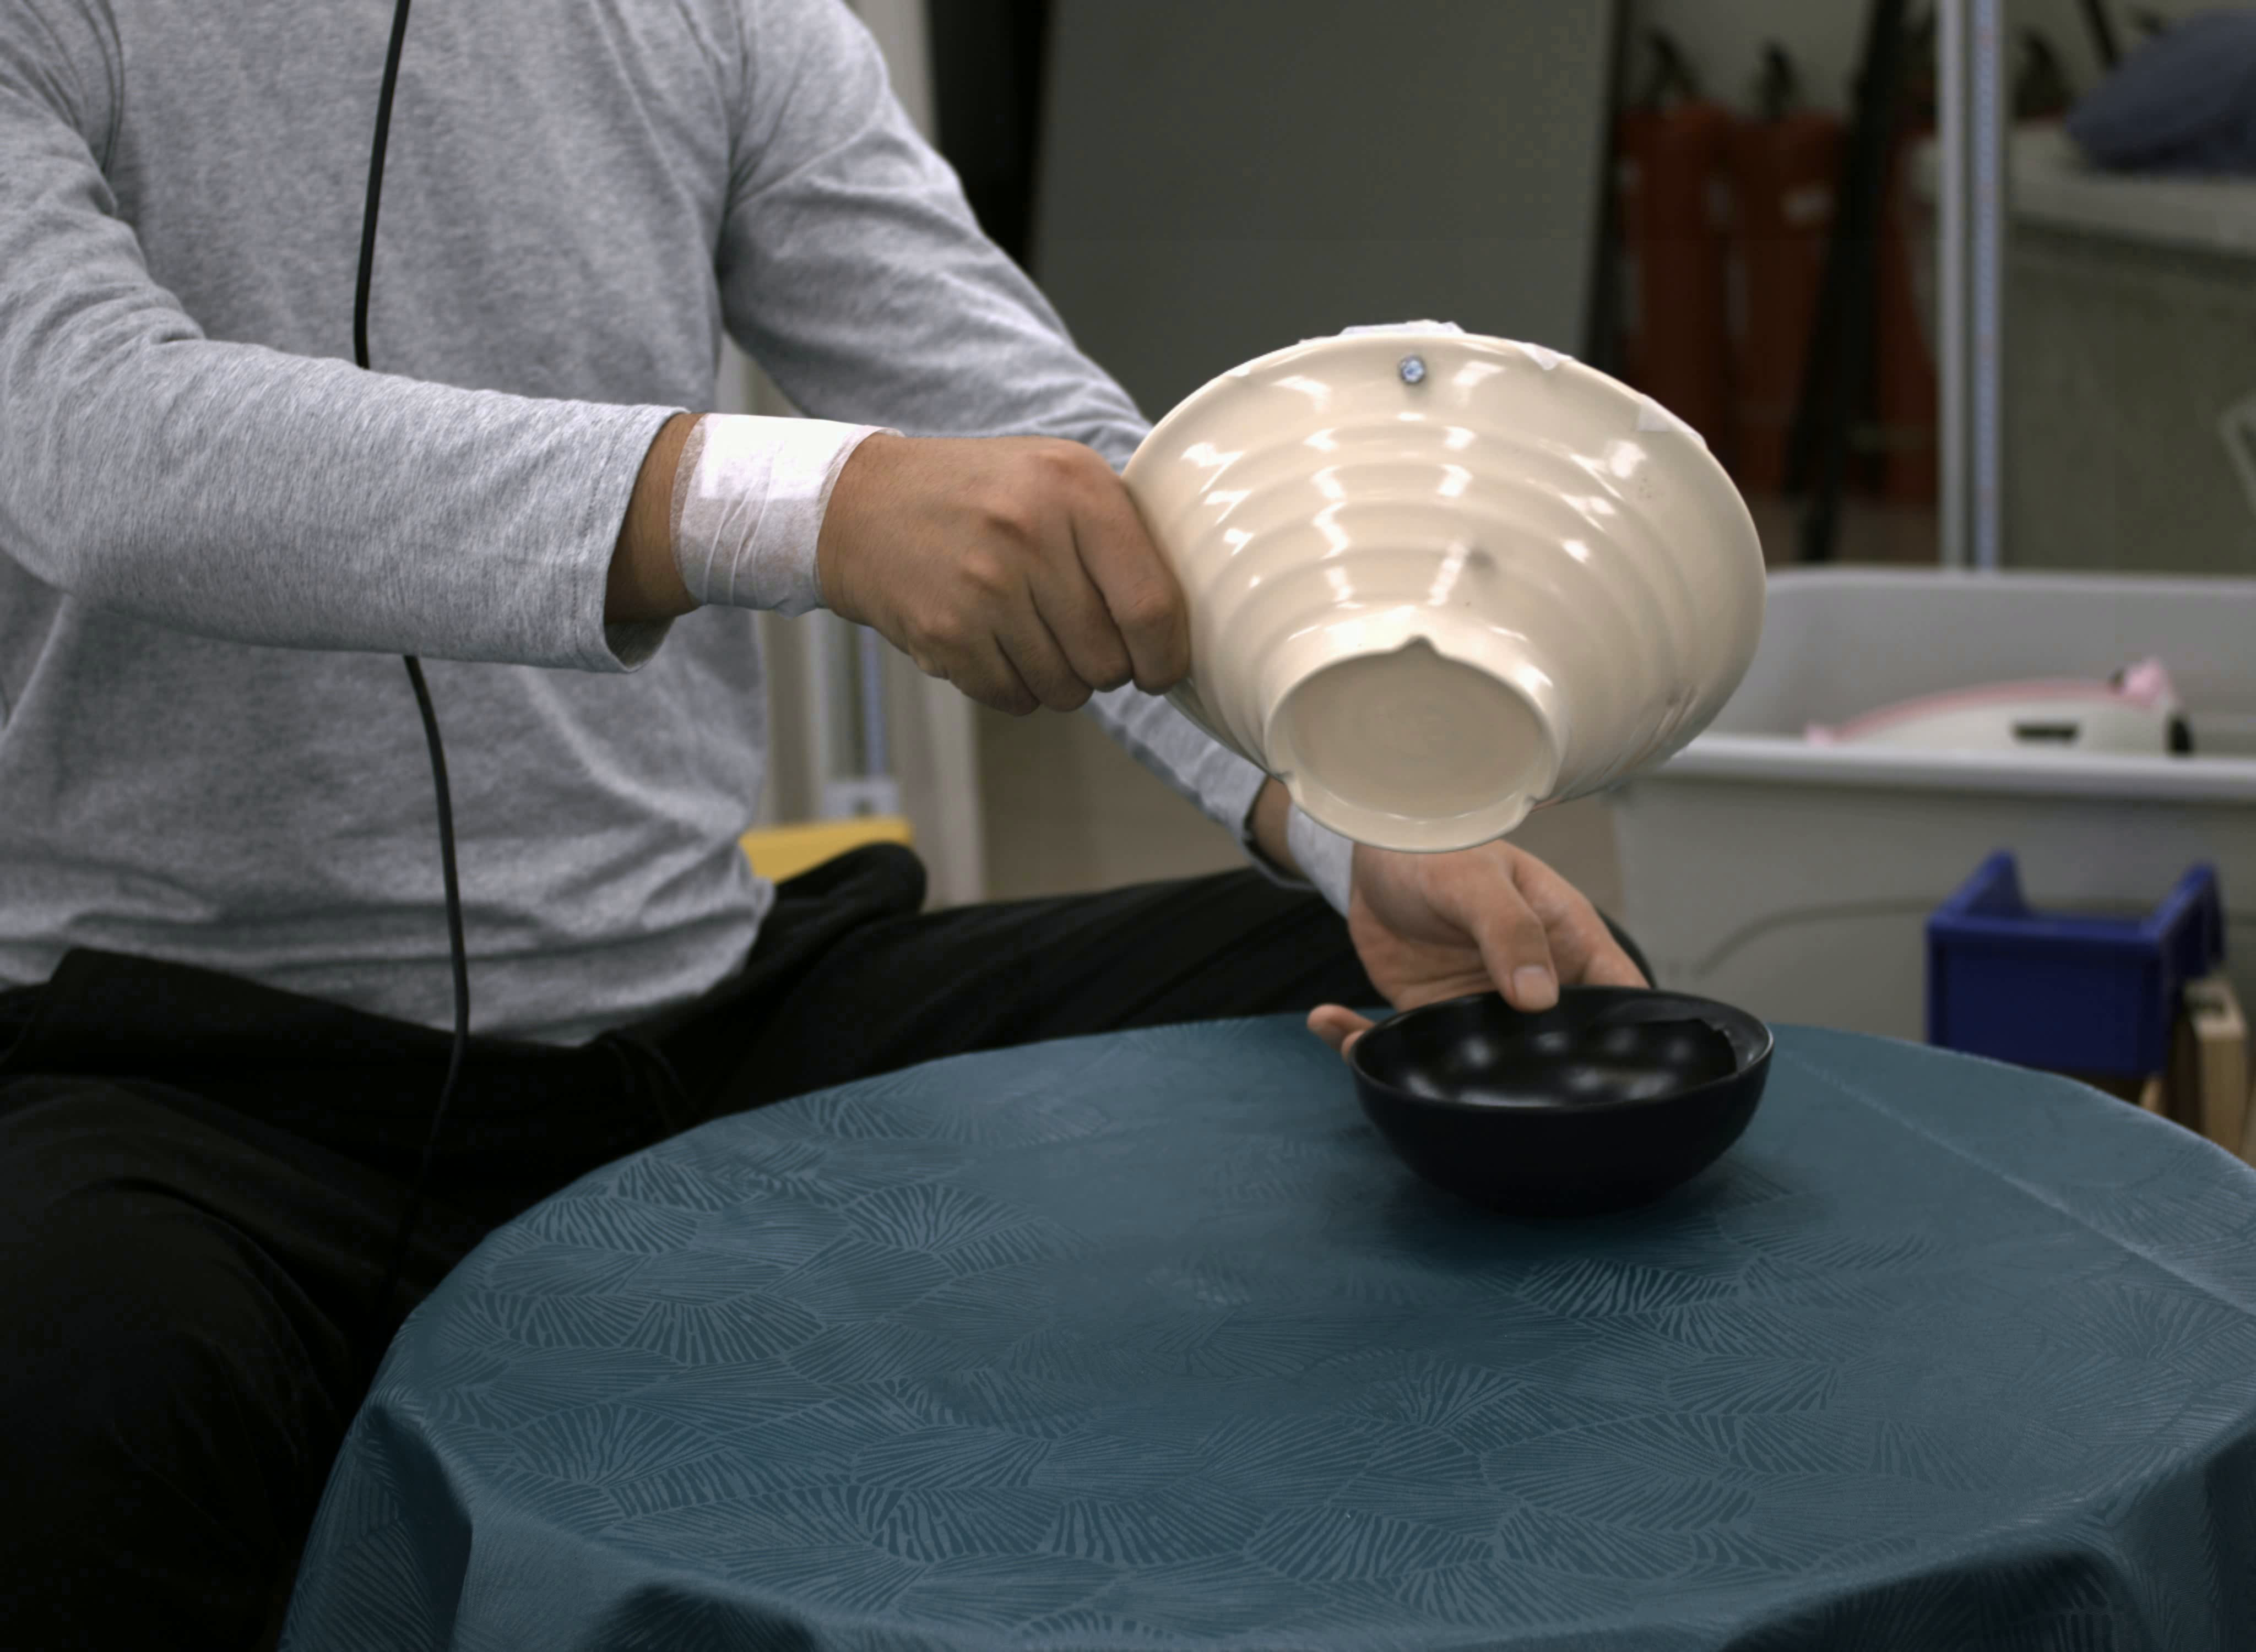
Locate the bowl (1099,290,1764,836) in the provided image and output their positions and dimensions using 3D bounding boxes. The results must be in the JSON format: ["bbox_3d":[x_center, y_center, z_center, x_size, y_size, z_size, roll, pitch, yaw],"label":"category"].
[{"bbox_3d":[0.086,-0.055,1.600,0.203,0.204,0.078,0,45,12],"label":"bowl"}]

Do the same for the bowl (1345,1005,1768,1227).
[{"bbox_3d":[0.141,0.097,1.743,0.138,0.050,0.140,-6,9,0],"label":"bowl"}]
